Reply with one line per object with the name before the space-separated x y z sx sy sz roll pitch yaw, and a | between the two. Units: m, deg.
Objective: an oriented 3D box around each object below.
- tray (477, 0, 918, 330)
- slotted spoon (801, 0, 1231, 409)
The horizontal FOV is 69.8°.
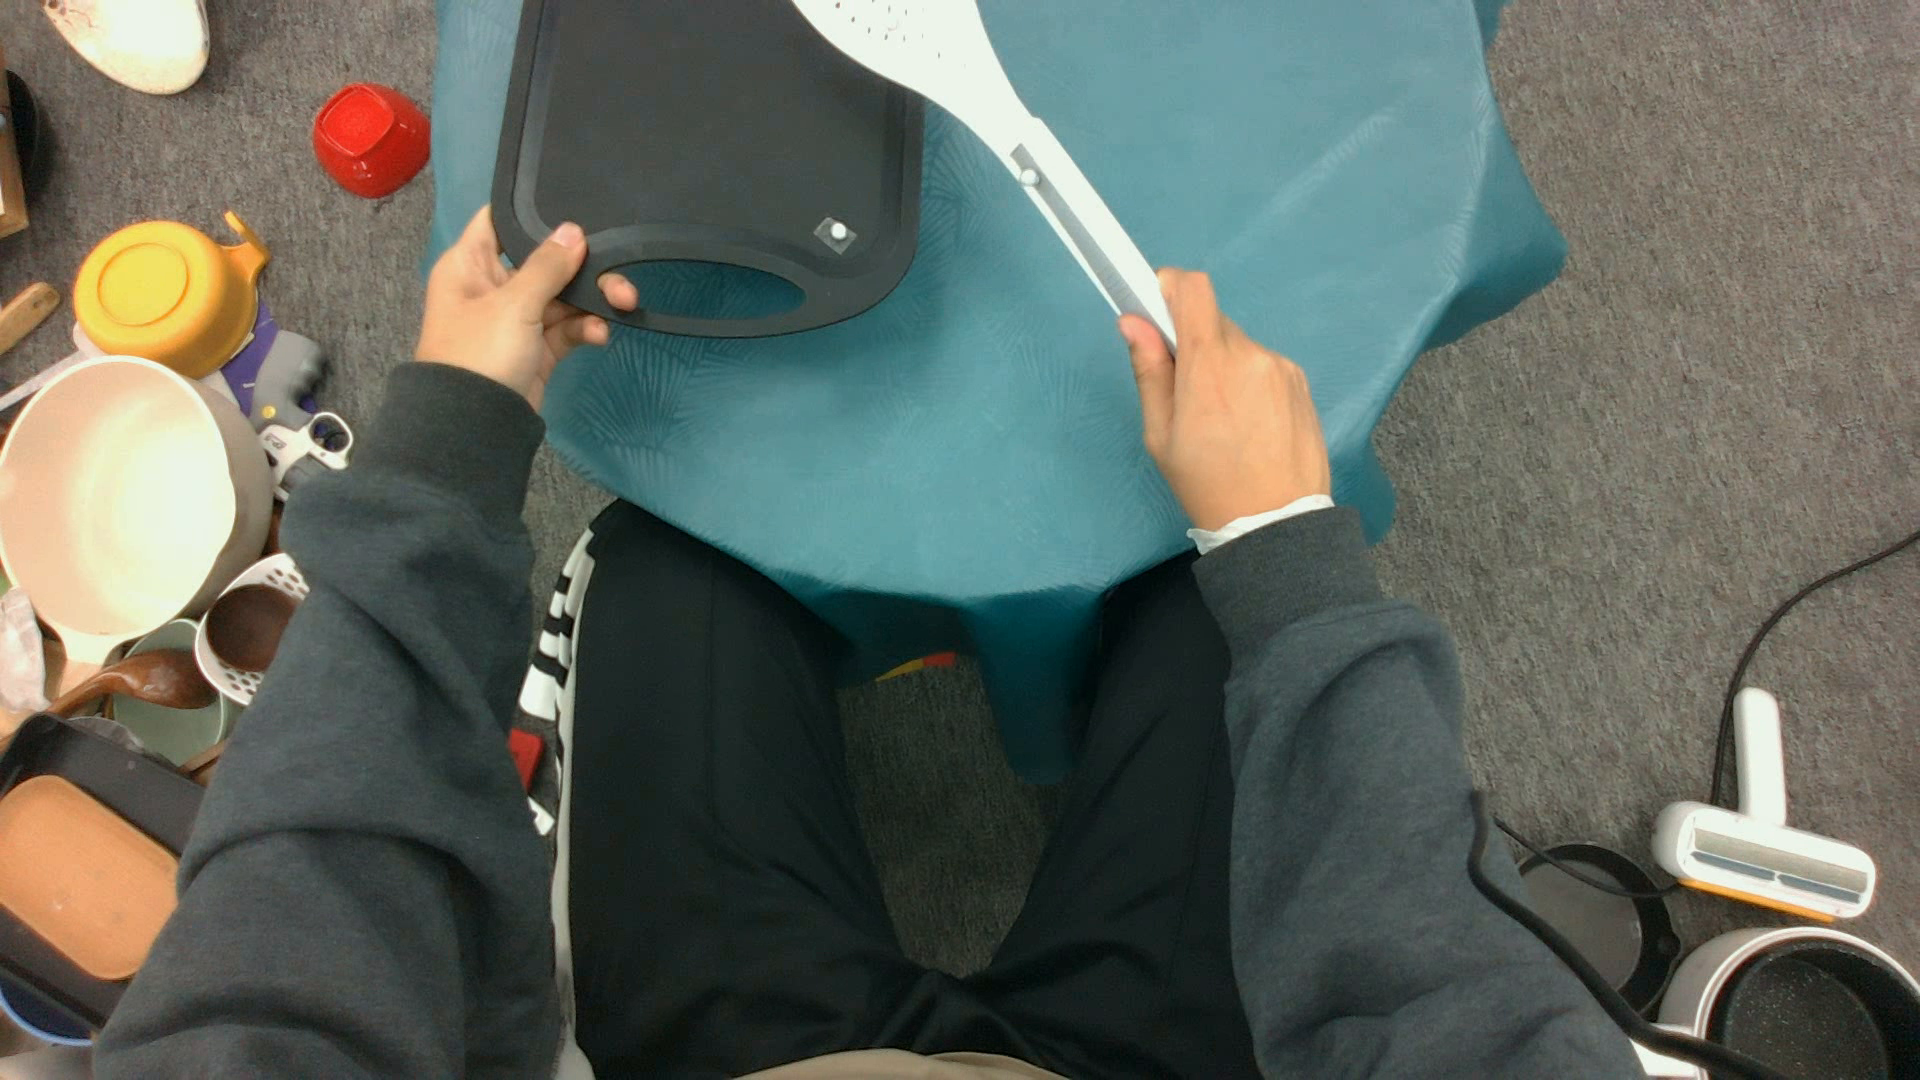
tray | -0.128 -0.255 0.717 0.211 0.010 0.326 4 70 -7
slotted spoon | 0.013 -0.202 0.629 0.046 0.135 0.349 -36 95 -23
